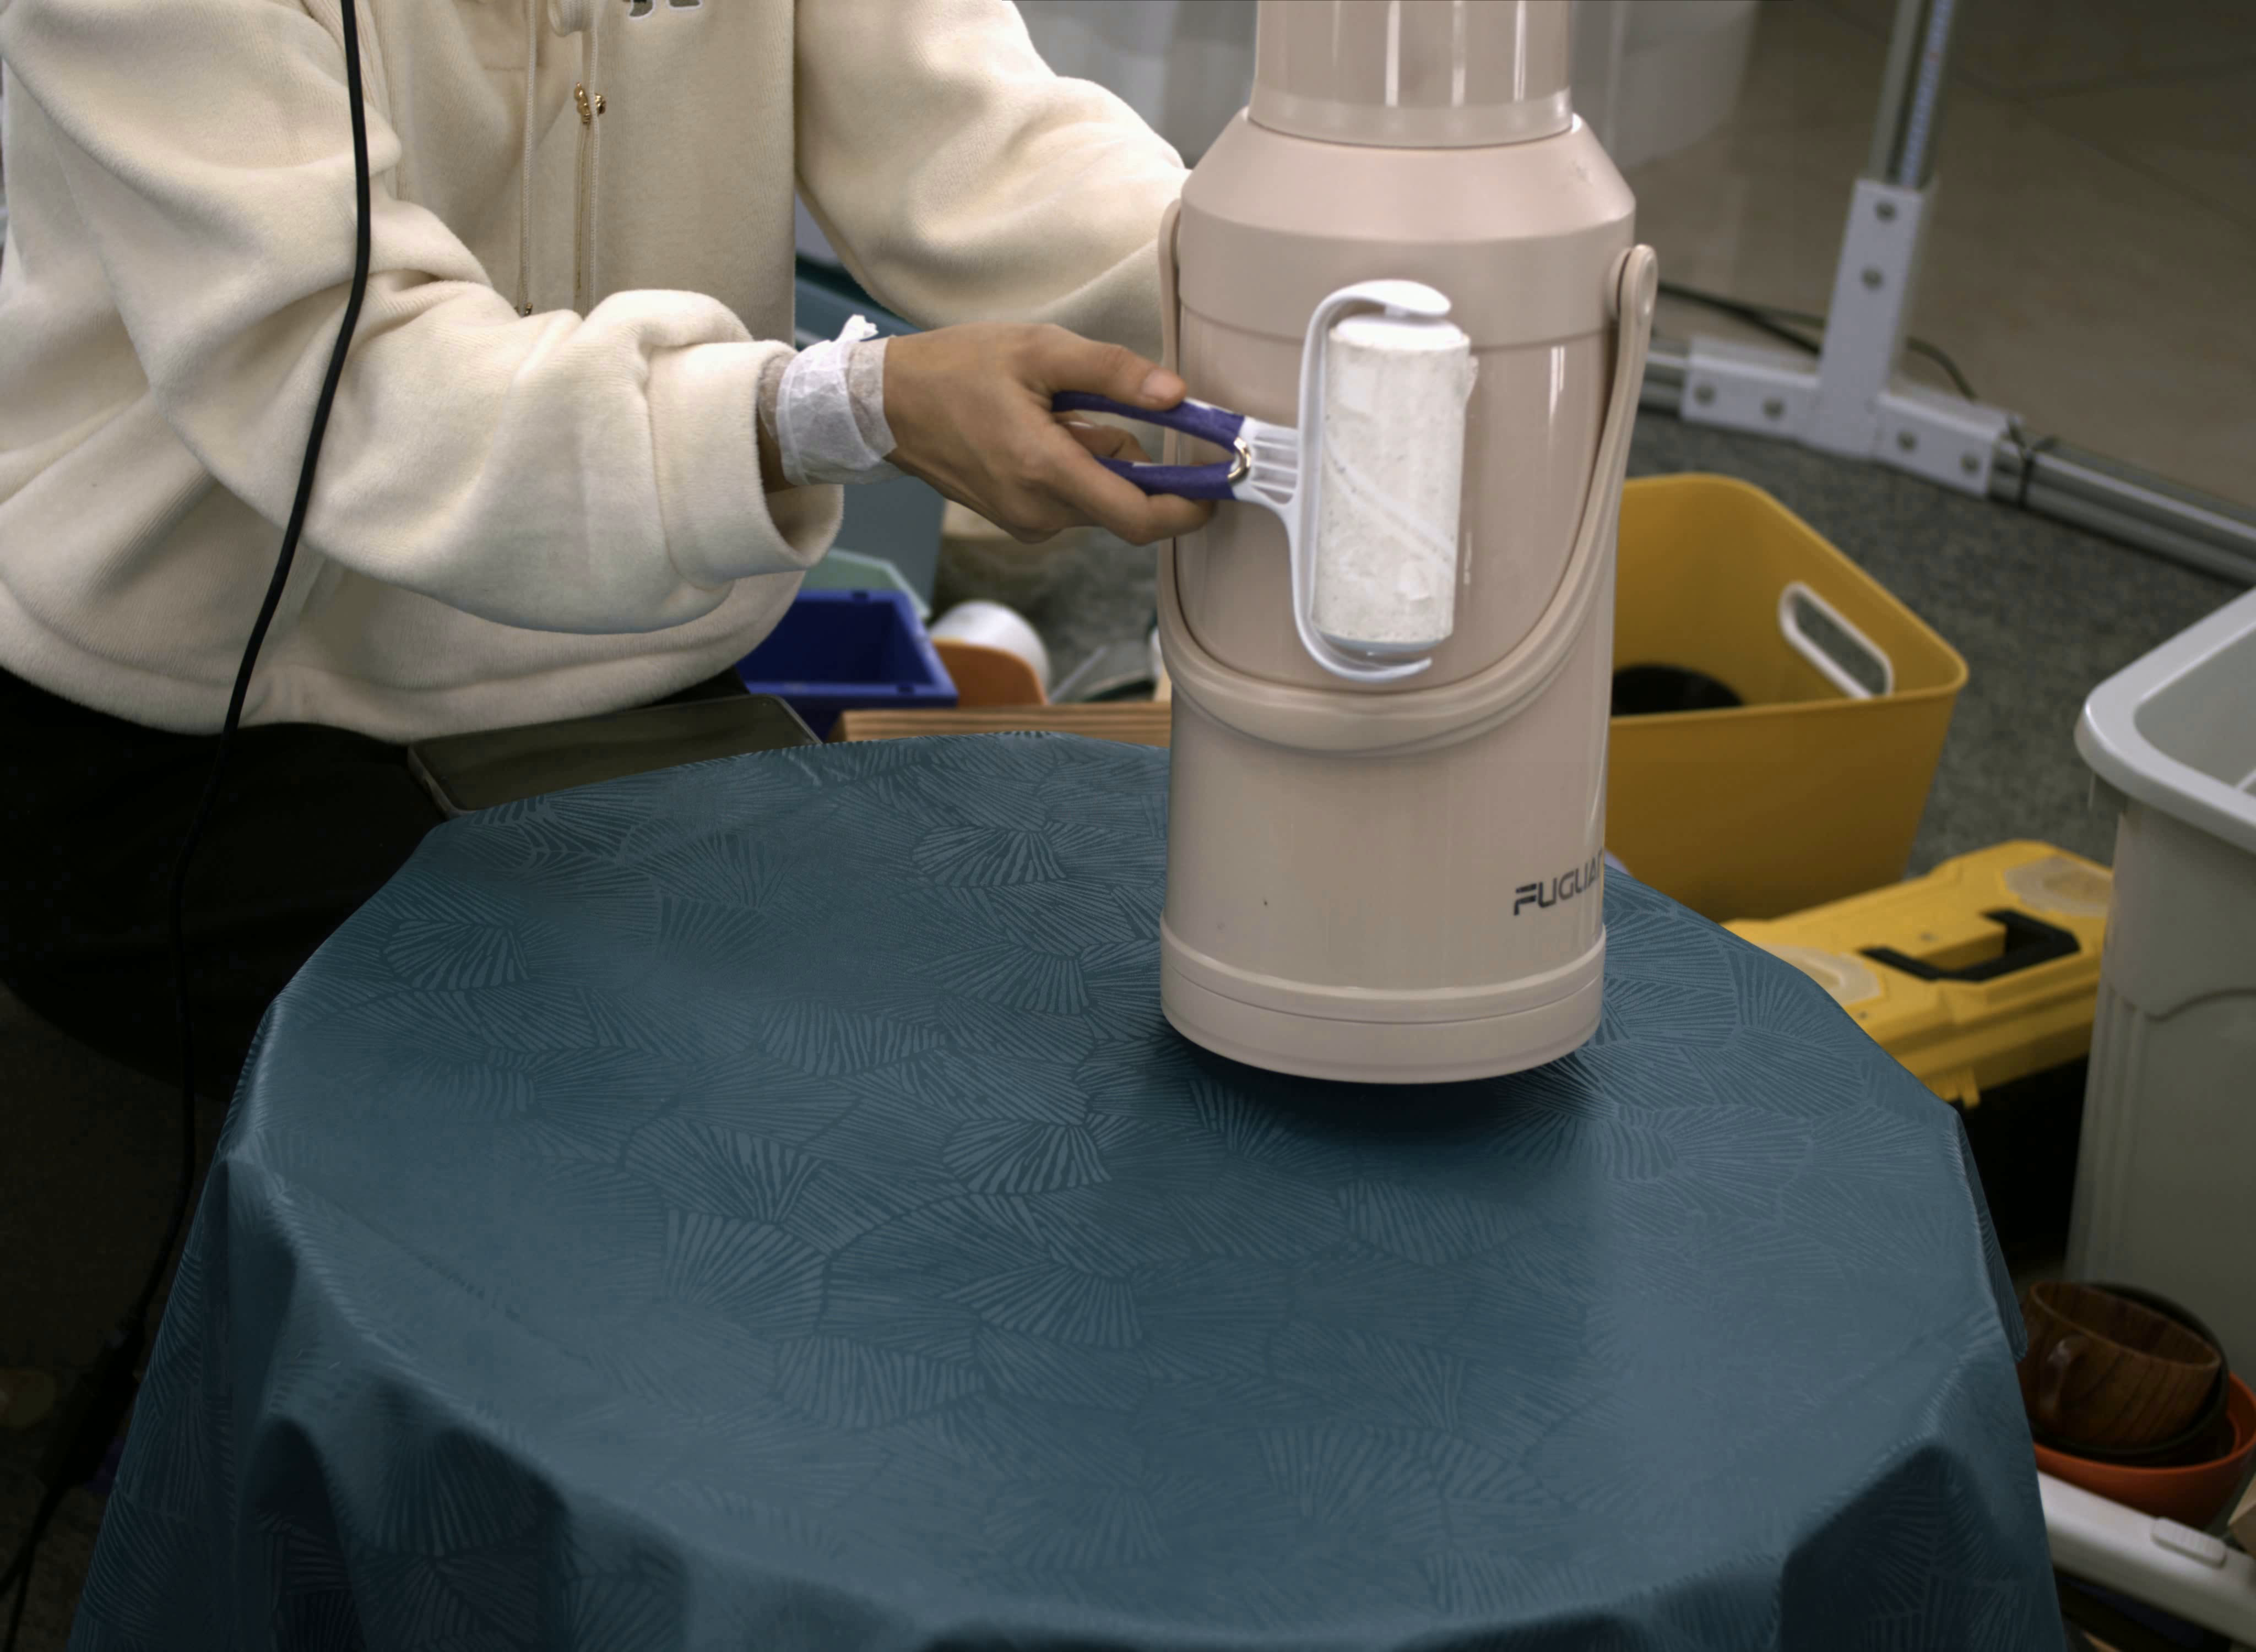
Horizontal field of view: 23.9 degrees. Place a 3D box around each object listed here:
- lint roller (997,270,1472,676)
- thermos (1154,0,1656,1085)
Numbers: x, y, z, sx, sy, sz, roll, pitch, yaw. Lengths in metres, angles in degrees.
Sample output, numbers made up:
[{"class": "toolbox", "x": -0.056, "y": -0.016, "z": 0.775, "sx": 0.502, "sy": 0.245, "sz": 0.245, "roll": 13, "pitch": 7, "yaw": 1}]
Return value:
[{"class": "lint roller", "x": 0.028, "y": -0.126, "z": 1.771, "sx": 0.181, "sy": 0.133, "sz": 0.050, "roll": 11, "pitch": 14, "yaw": 25}, {"class": "thermos", "x": 0.100, "y": -0.127, "z": 1.860, "sx": 0.176, "sy": 0.405, "sz": 0.206, "roll": 7, "pitch": 18, "yaw": 23}]
